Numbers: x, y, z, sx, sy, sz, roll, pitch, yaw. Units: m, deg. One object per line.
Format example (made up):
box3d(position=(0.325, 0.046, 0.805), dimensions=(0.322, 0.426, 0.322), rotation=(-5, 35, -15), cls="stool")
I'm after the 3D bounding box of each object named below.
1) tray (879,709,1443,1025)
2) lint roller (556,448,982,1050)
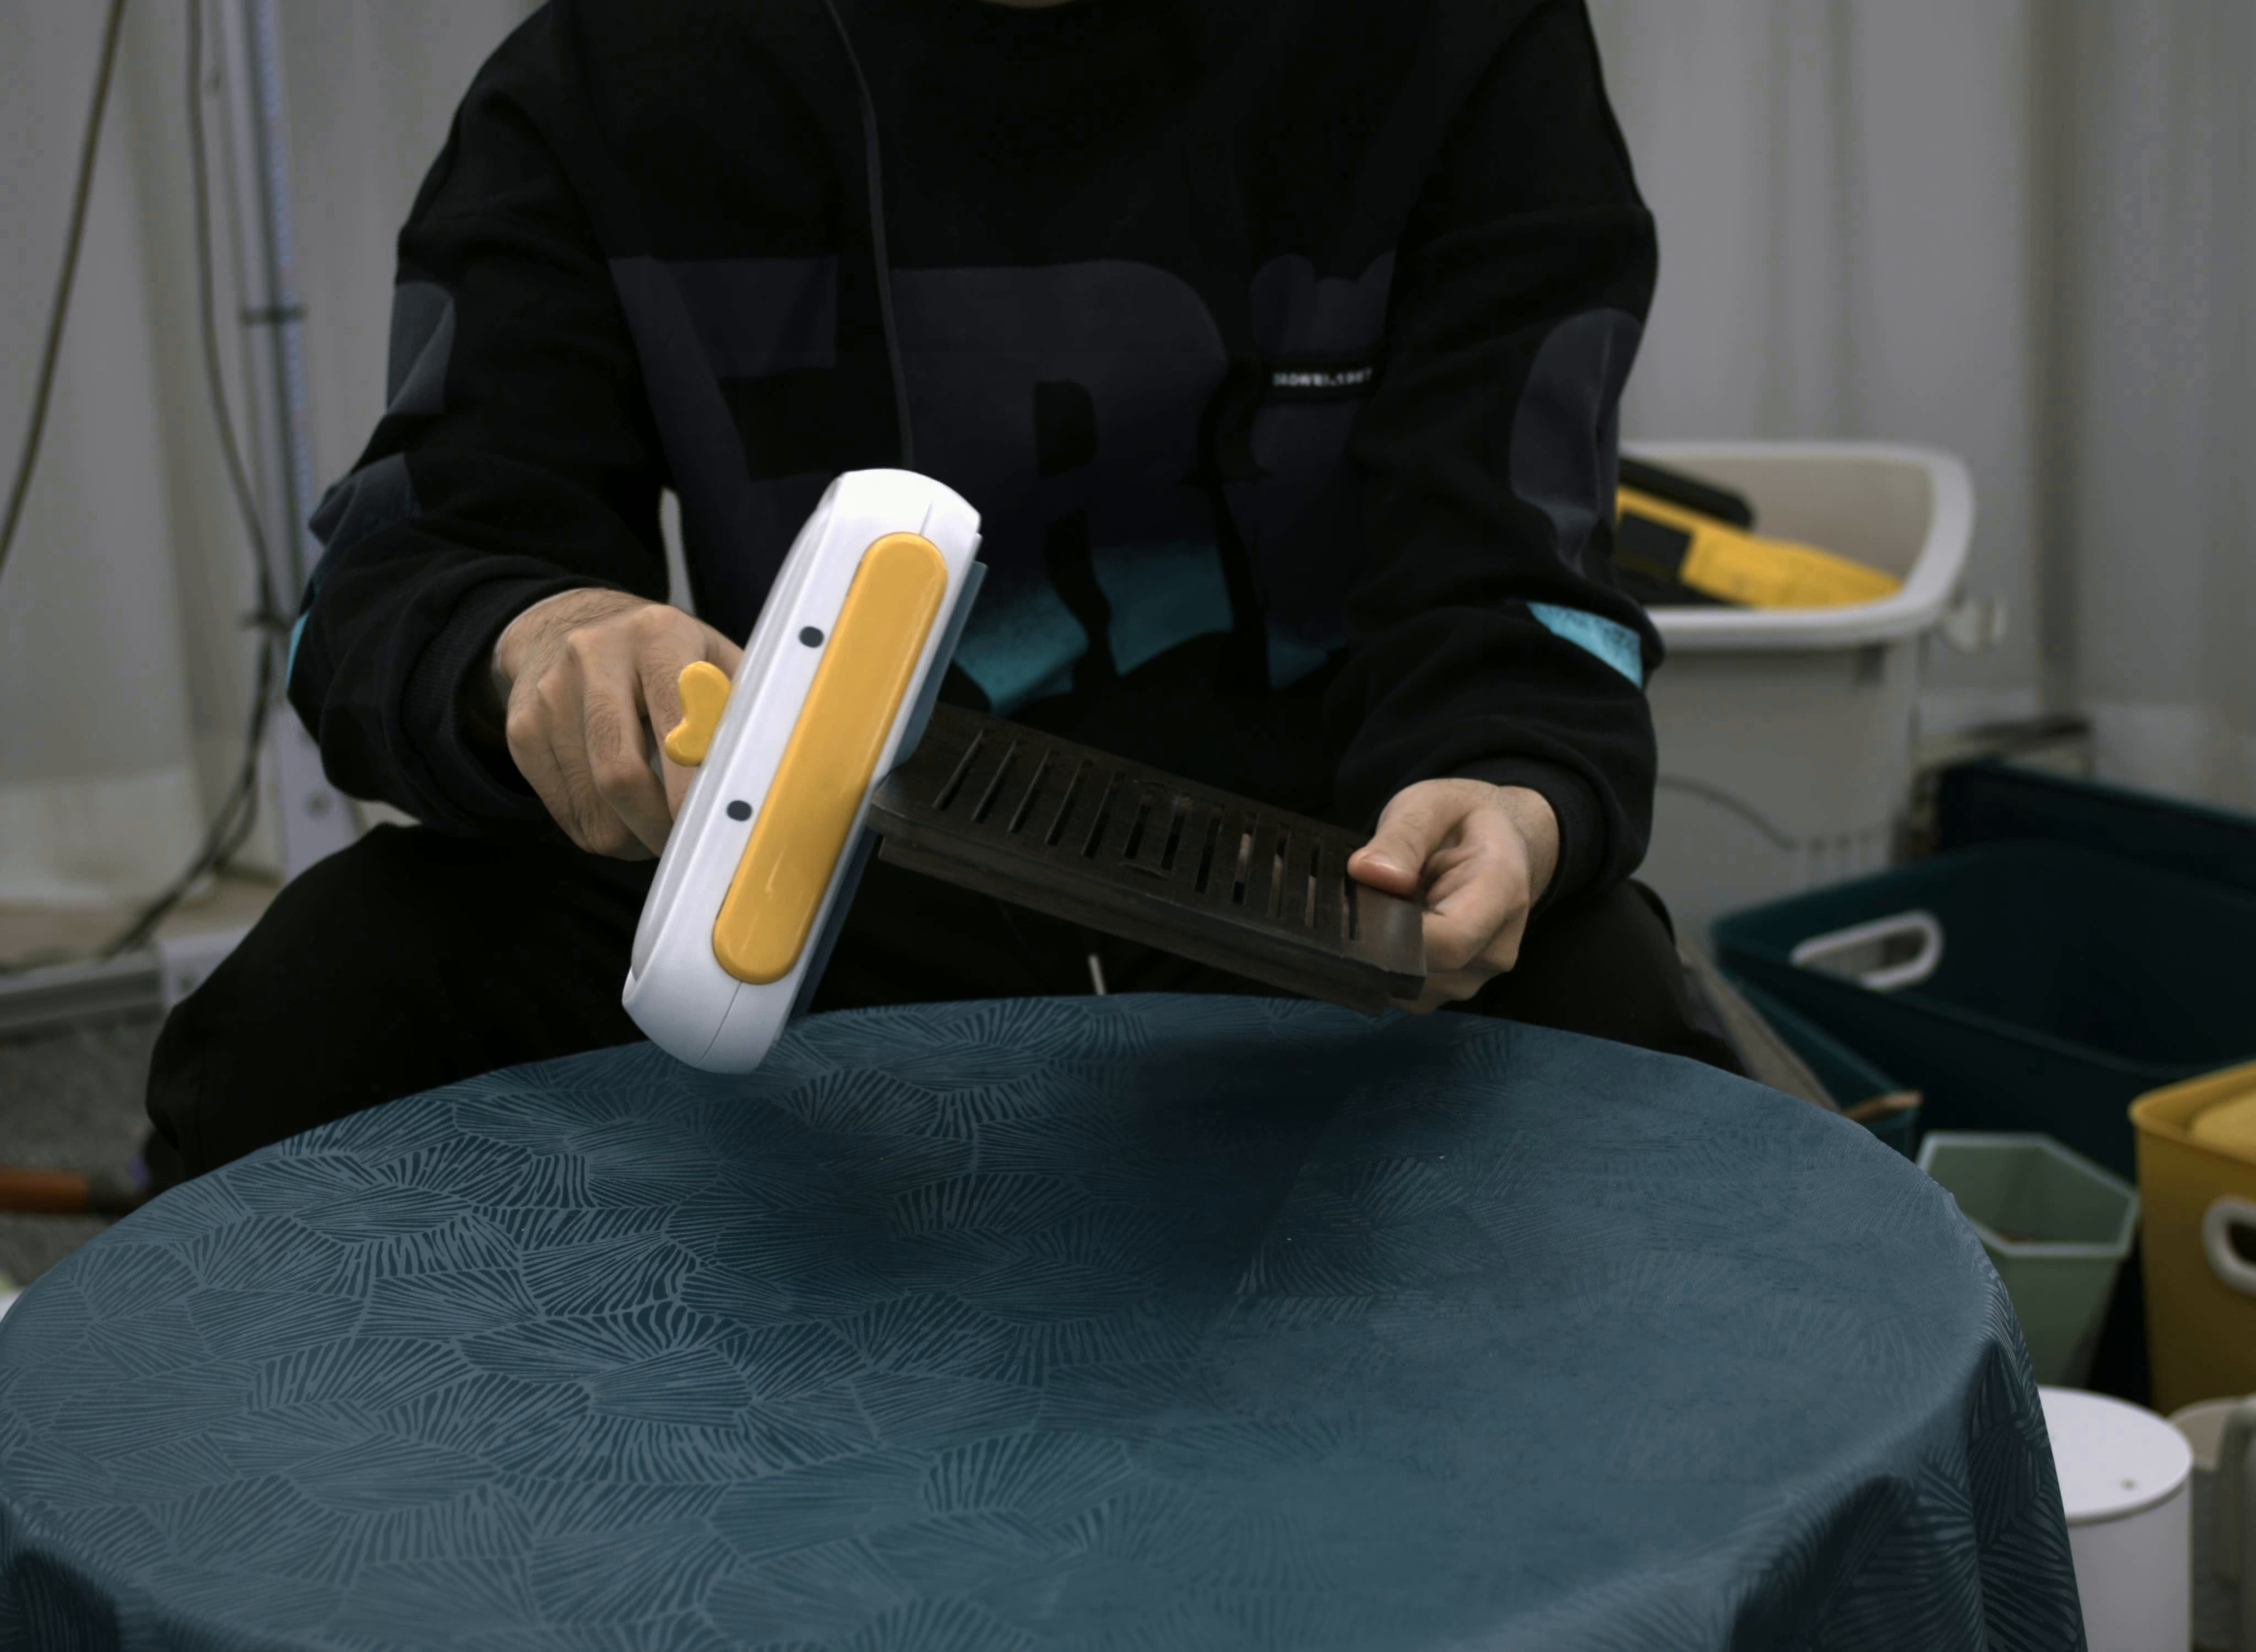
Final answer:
box3d(position=(0.014, 0.010, 1.714), dimensions=(0.170, 0.018, 0.306), rotation=(18, 7, 0), cls="tray")
box3d(position=(-0.124, -0.019, 1.717), dimensions=(0.073, 0.194, 0.192), rotation=(22, -16, -18), cls="lint roller")
